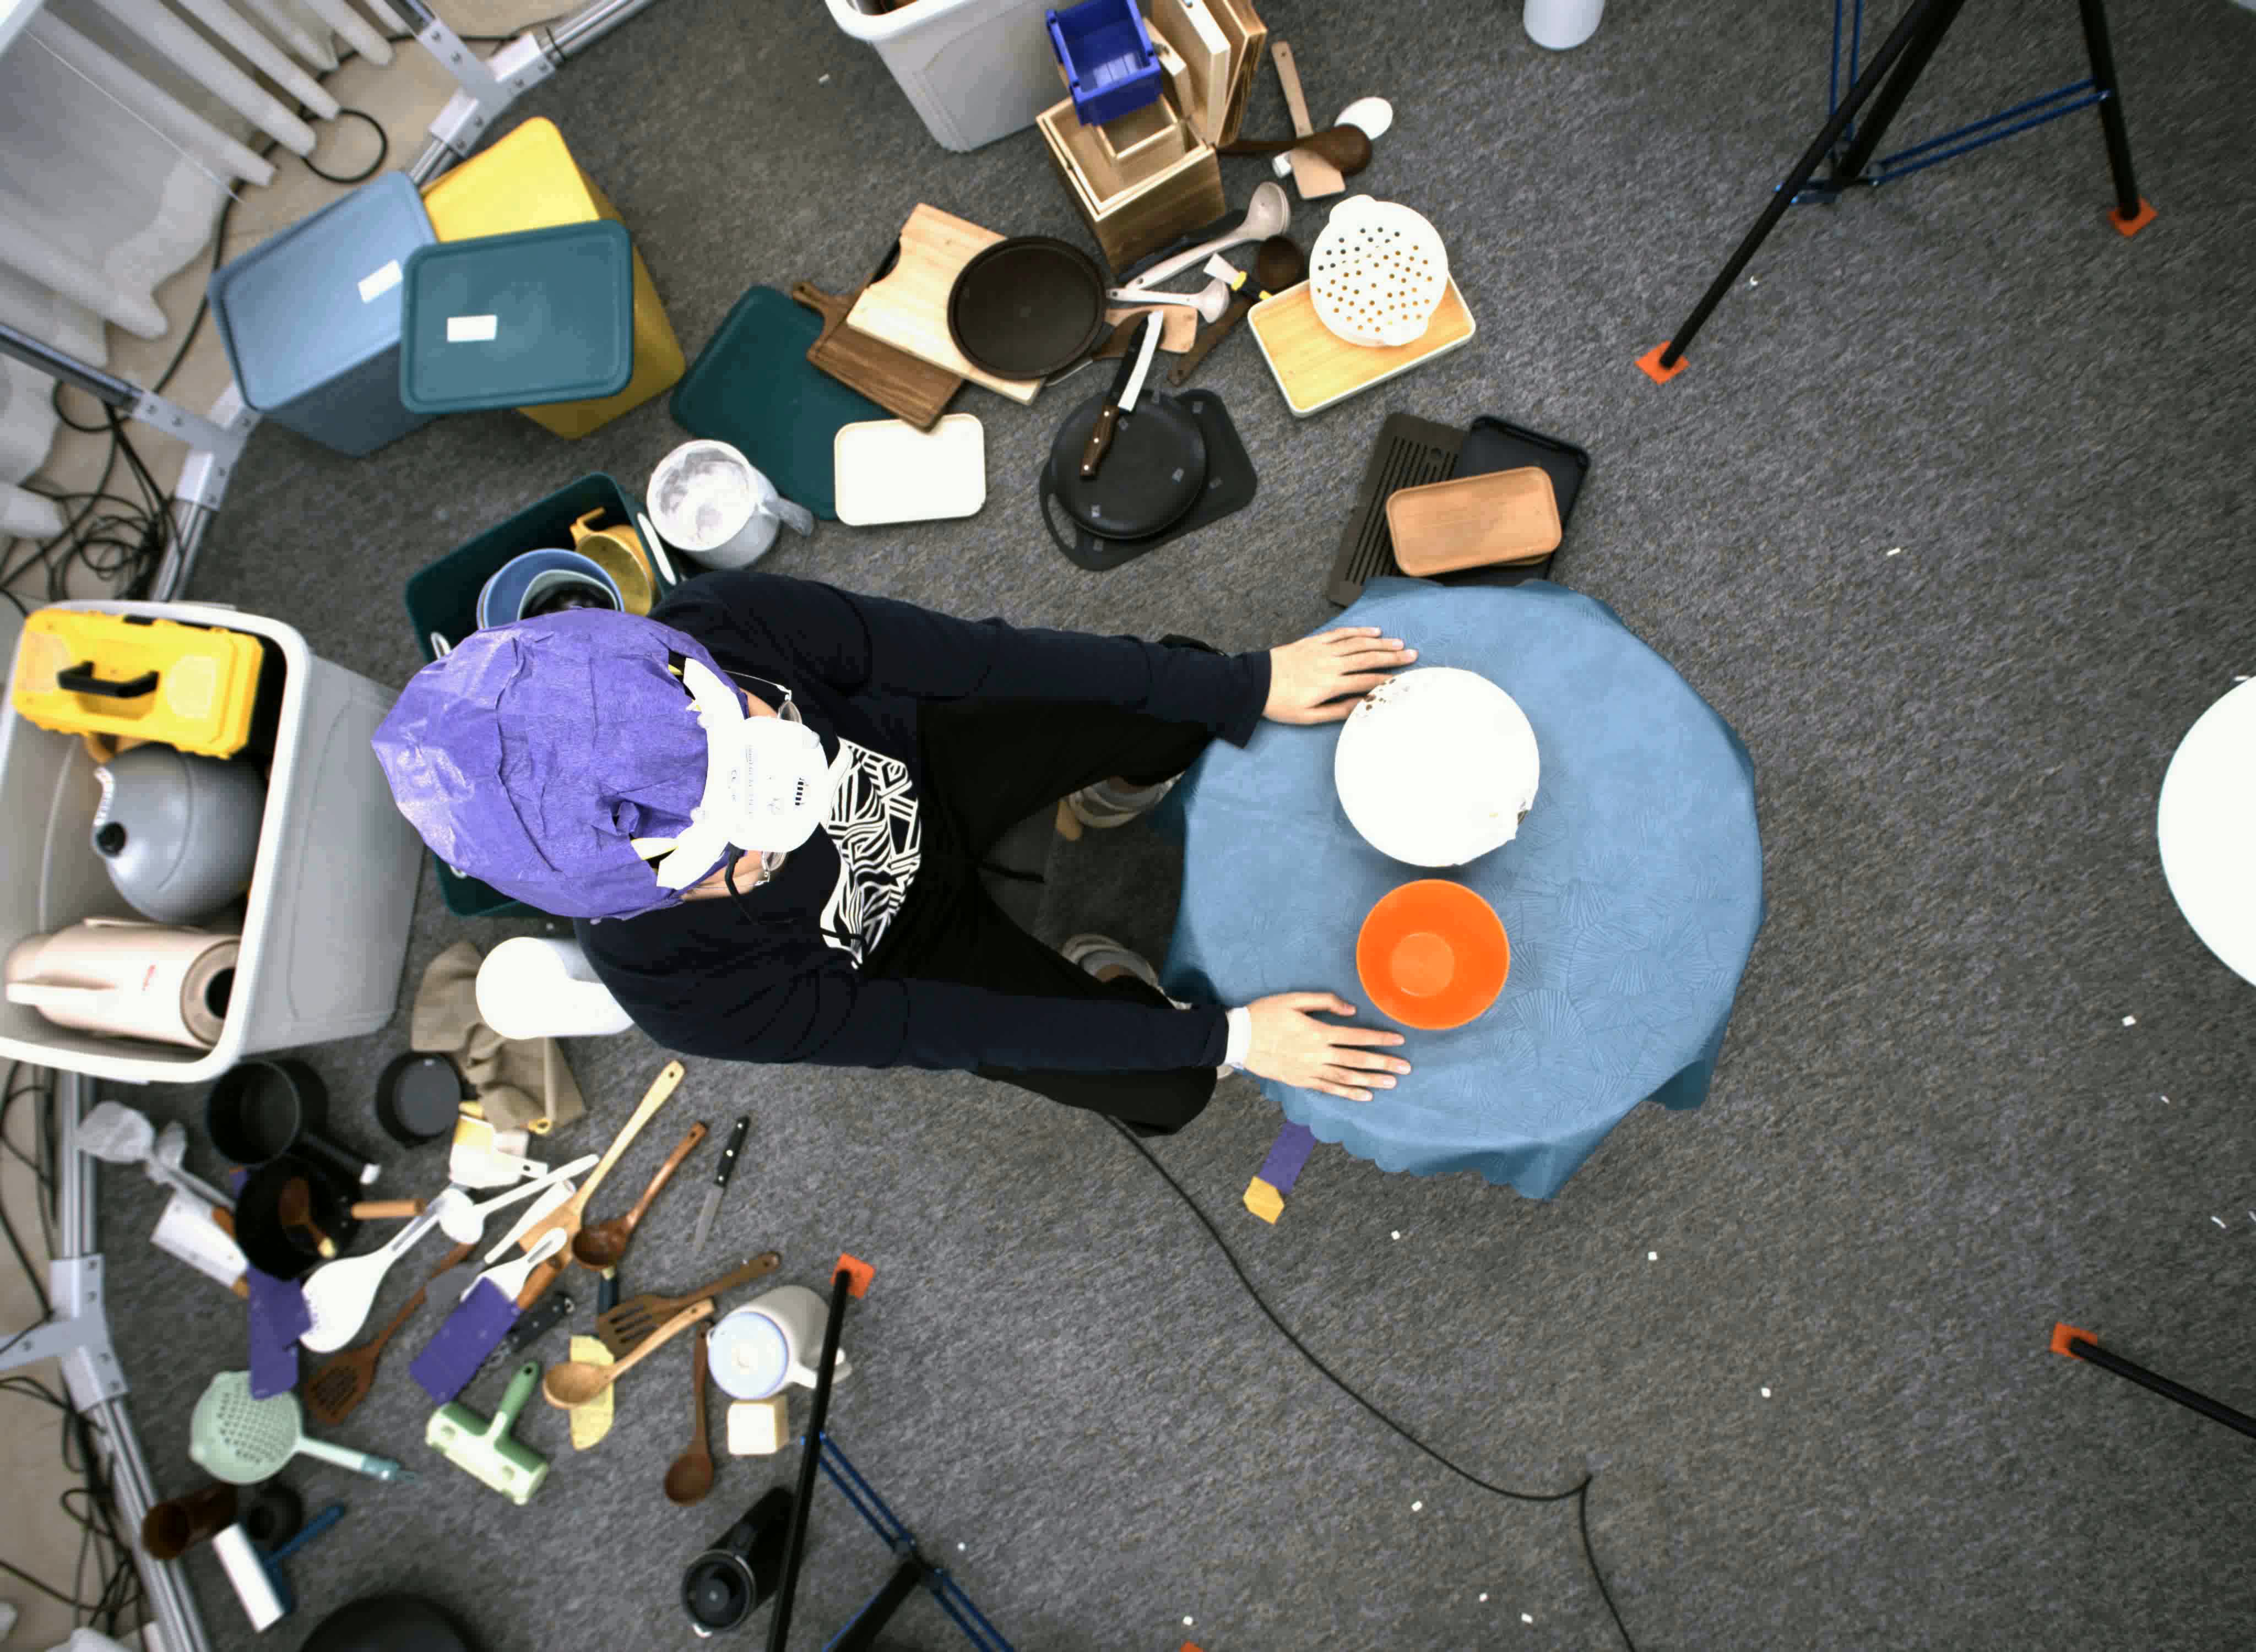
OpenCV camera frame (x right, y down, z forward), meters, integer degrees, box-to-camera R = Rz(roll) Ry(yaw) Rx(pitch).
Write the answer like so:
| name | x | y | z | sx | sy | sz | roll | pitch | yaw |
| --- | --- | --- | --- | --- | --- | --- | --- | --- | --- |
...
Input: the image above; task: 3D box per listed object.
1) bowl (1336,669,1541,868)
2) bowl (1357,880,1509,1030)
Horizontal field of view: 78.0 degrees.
| name | x | y | z | sx | sy | sz | roll | pitch | yaw |
| --- | --- | --- | --- | --- | --- | --- | --- | --- | --- |
| bowl | 0.319 | -0.056 | 1.419 | 0.205 | 0.078 | 0.203 | -1 | 85 | 12 |
| bowl | 0.307 | 0.130 | 1.400 | 0.148 | 0.104 | 0.147 | -1 | 87 | 12 |
